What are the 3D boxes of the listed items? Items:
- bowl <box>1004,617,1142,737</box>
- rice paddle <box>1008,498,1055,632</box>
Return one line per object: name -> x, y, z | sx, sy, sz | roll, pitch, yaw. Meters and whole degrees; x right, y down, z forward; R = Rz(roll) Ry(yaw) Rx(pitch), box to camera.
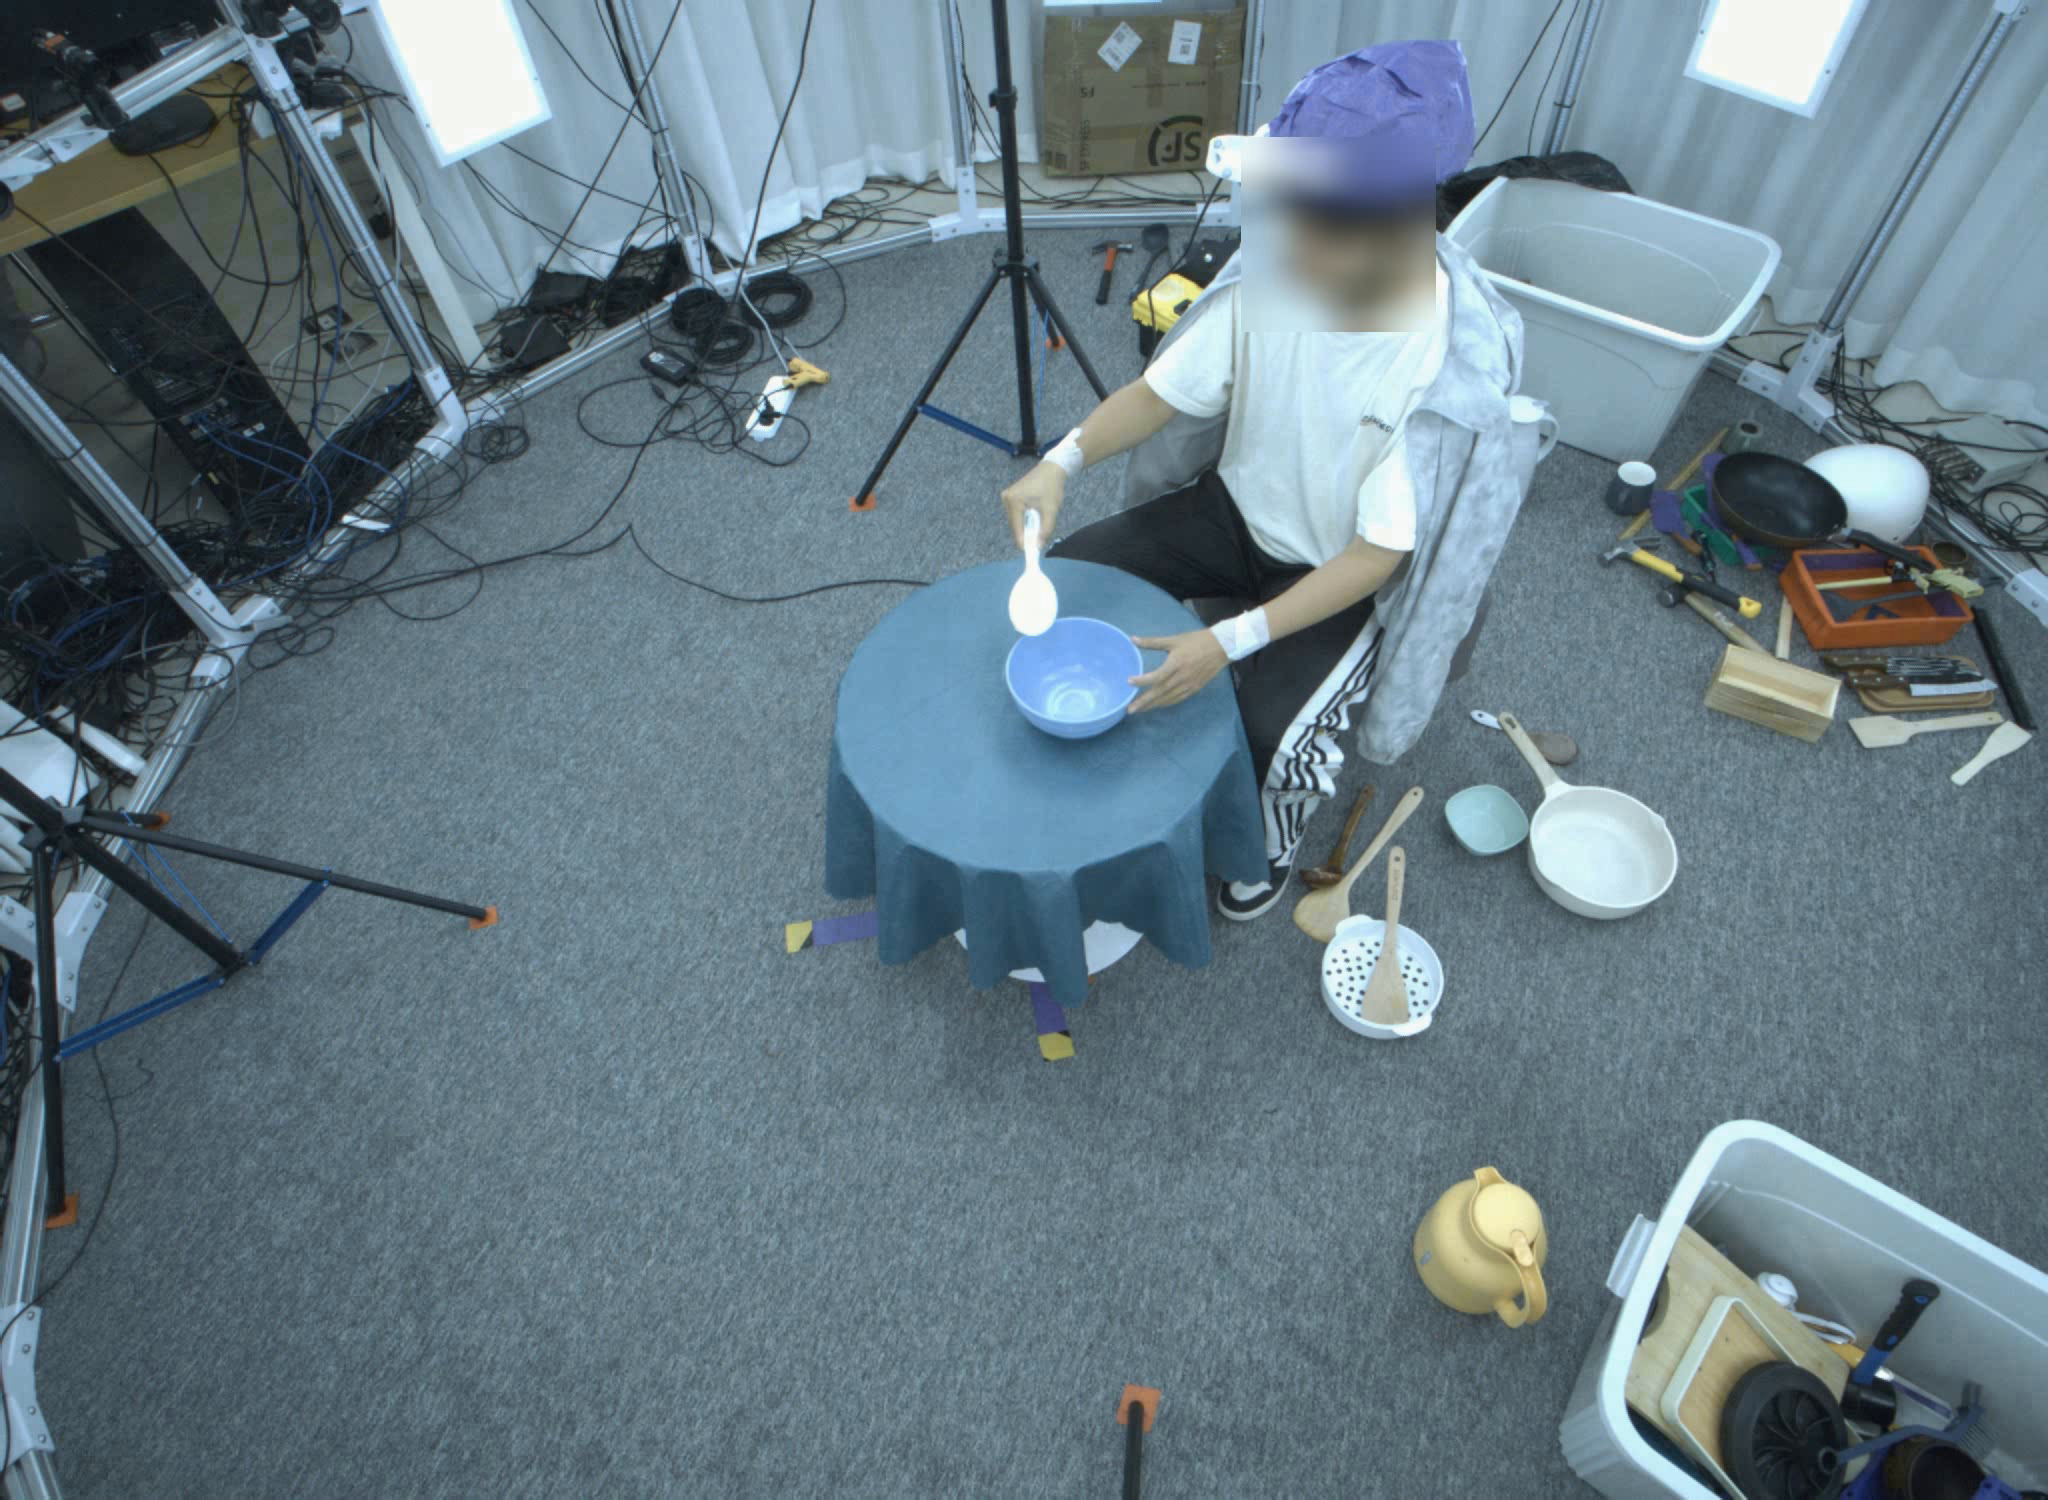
bowl -> 0.073, -0.091, 1.792 | 0.196, 0.096, 0.194 | -1, 55, 3
rice paddle -> 0.009, -0.267, 1.772 | 0.068, 0.030, 0.204 | -4, 75, 12
